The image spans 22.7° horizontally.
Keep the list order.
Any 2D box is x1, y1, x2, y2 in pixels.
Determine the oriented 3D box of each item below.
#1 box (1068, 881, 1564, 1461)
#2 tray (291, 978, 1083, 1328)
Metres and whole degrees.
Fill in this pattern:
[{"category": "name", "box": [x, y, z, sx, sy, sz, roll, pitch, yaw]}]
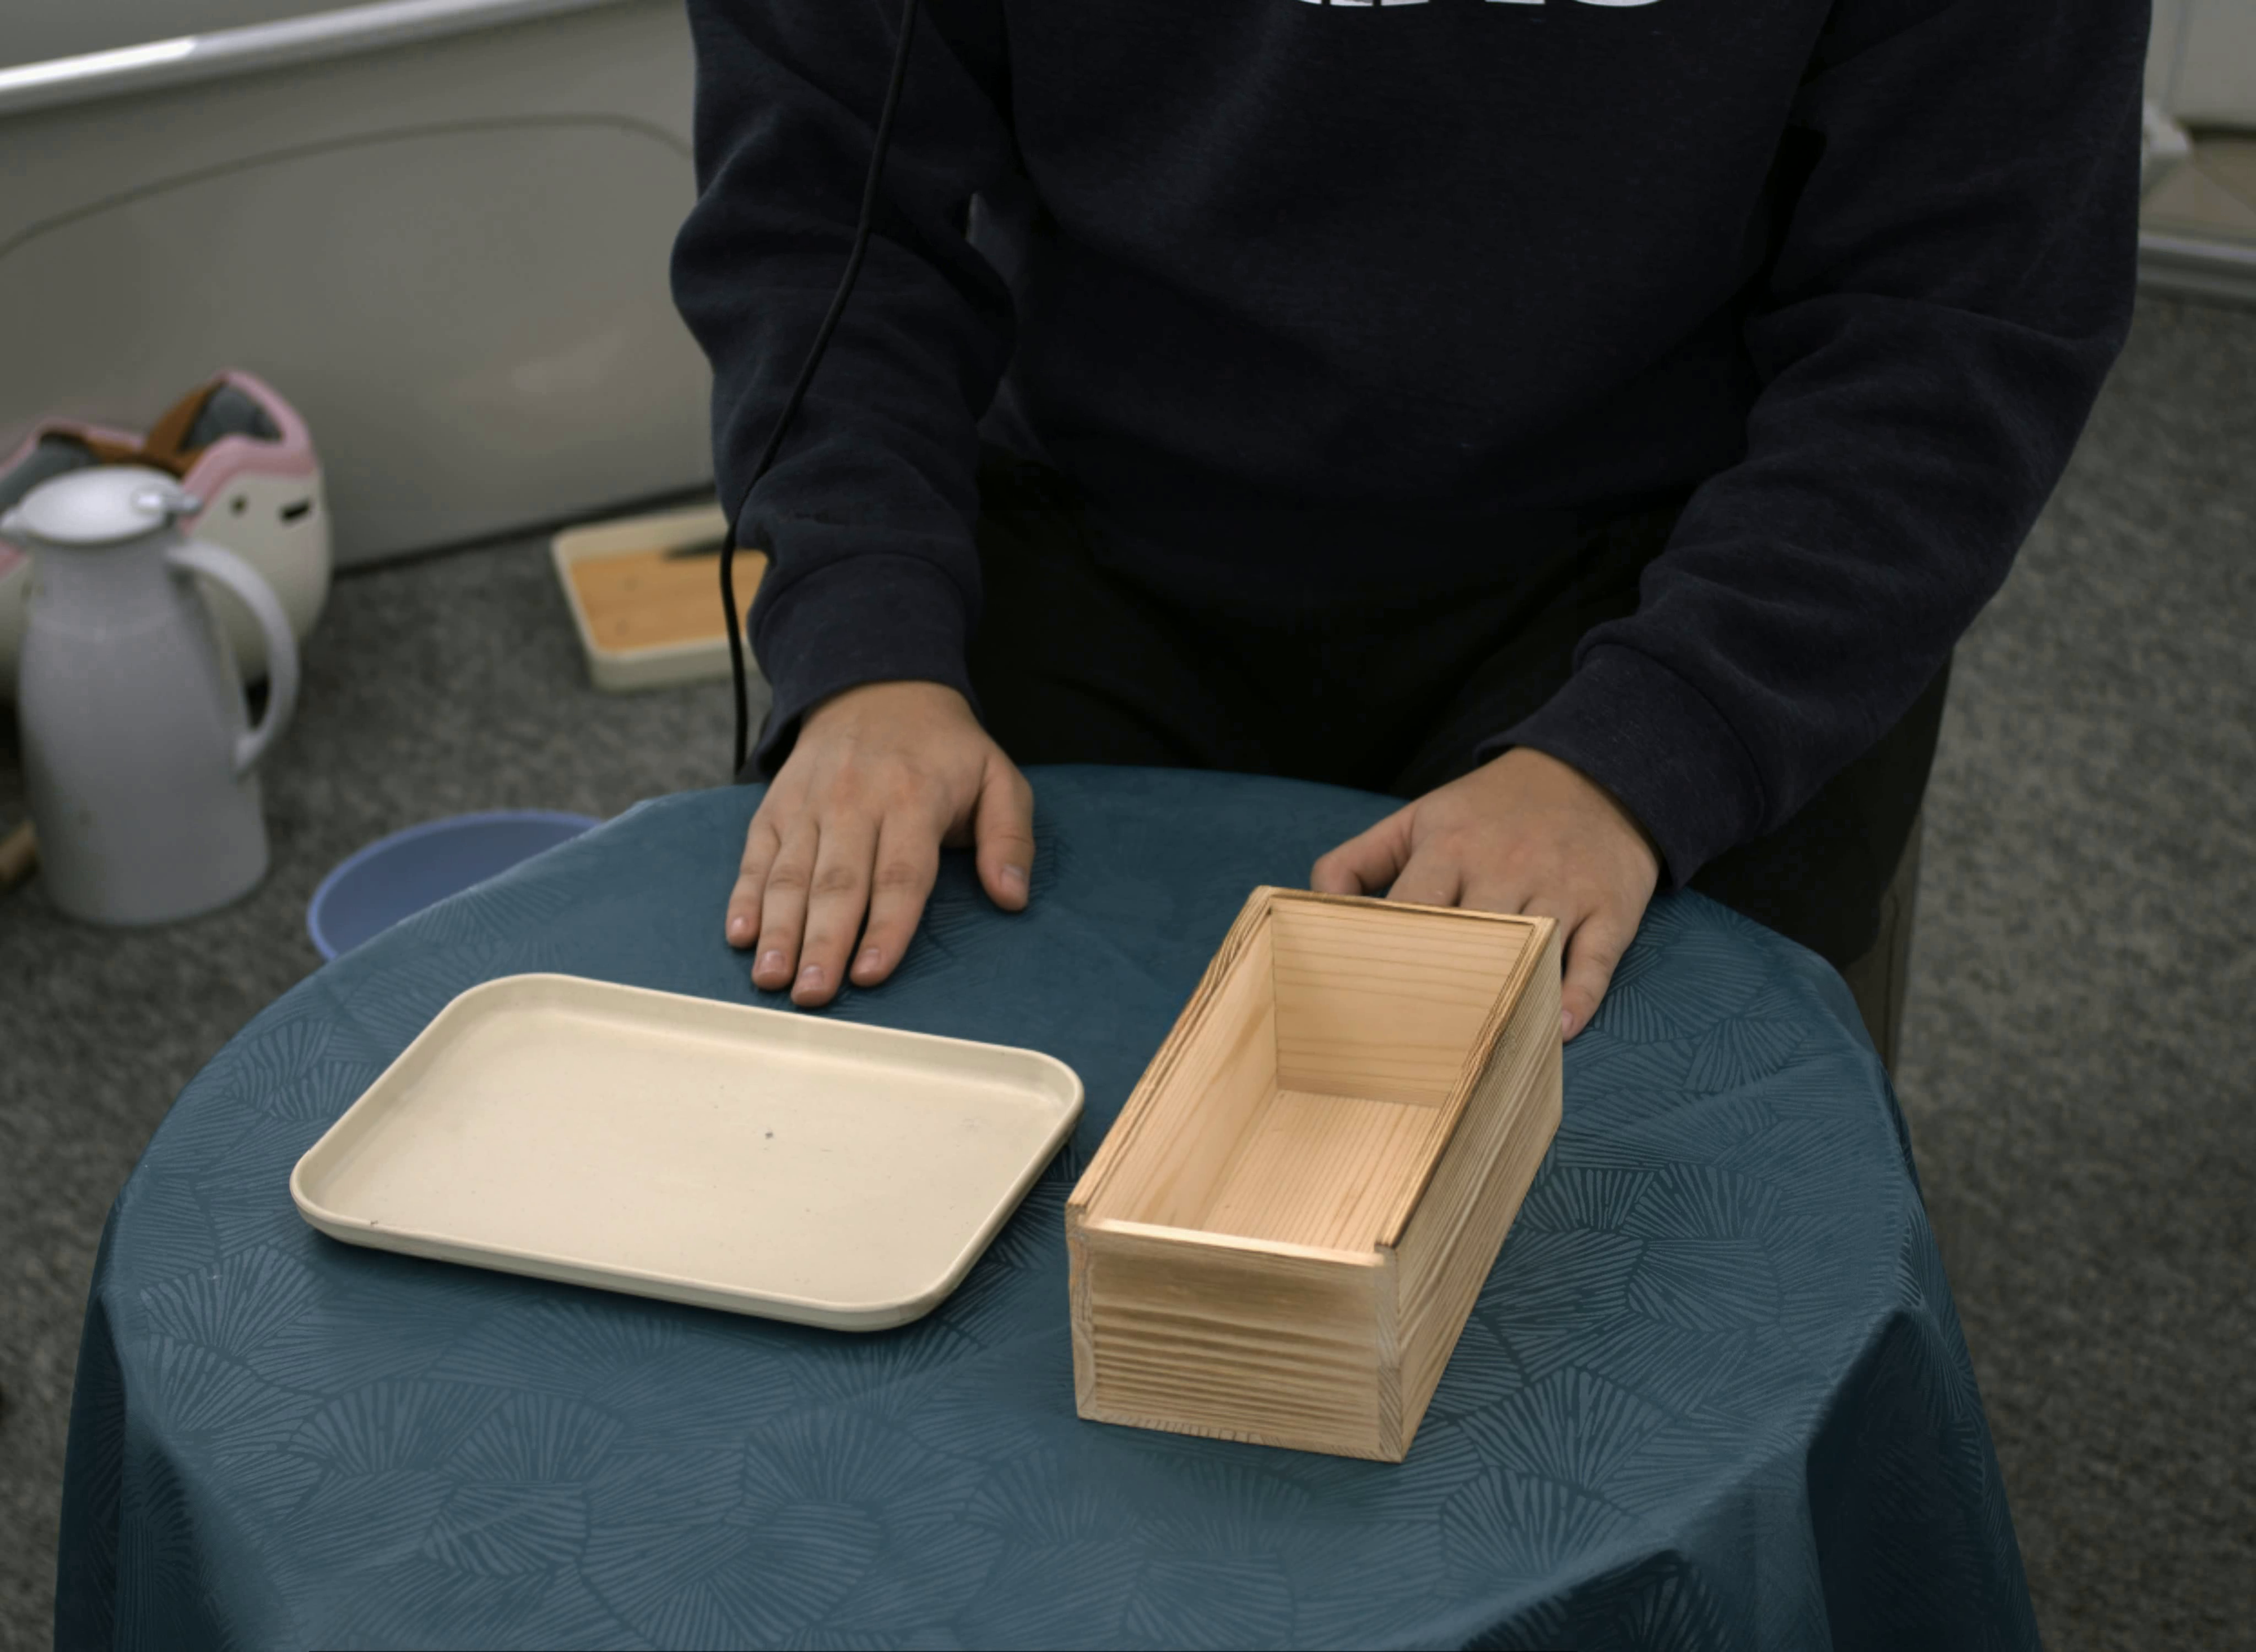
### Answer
[{"category": "box", "box": [0.064, 0.107, 1.802, 0.107, 0.079, 0.215, 6, 28, 16]}, {"category": "tray", "box": [-0.146, 0.110, 1.882, 0.238, 0.017, 0.174, 8, 29, 19]}]
